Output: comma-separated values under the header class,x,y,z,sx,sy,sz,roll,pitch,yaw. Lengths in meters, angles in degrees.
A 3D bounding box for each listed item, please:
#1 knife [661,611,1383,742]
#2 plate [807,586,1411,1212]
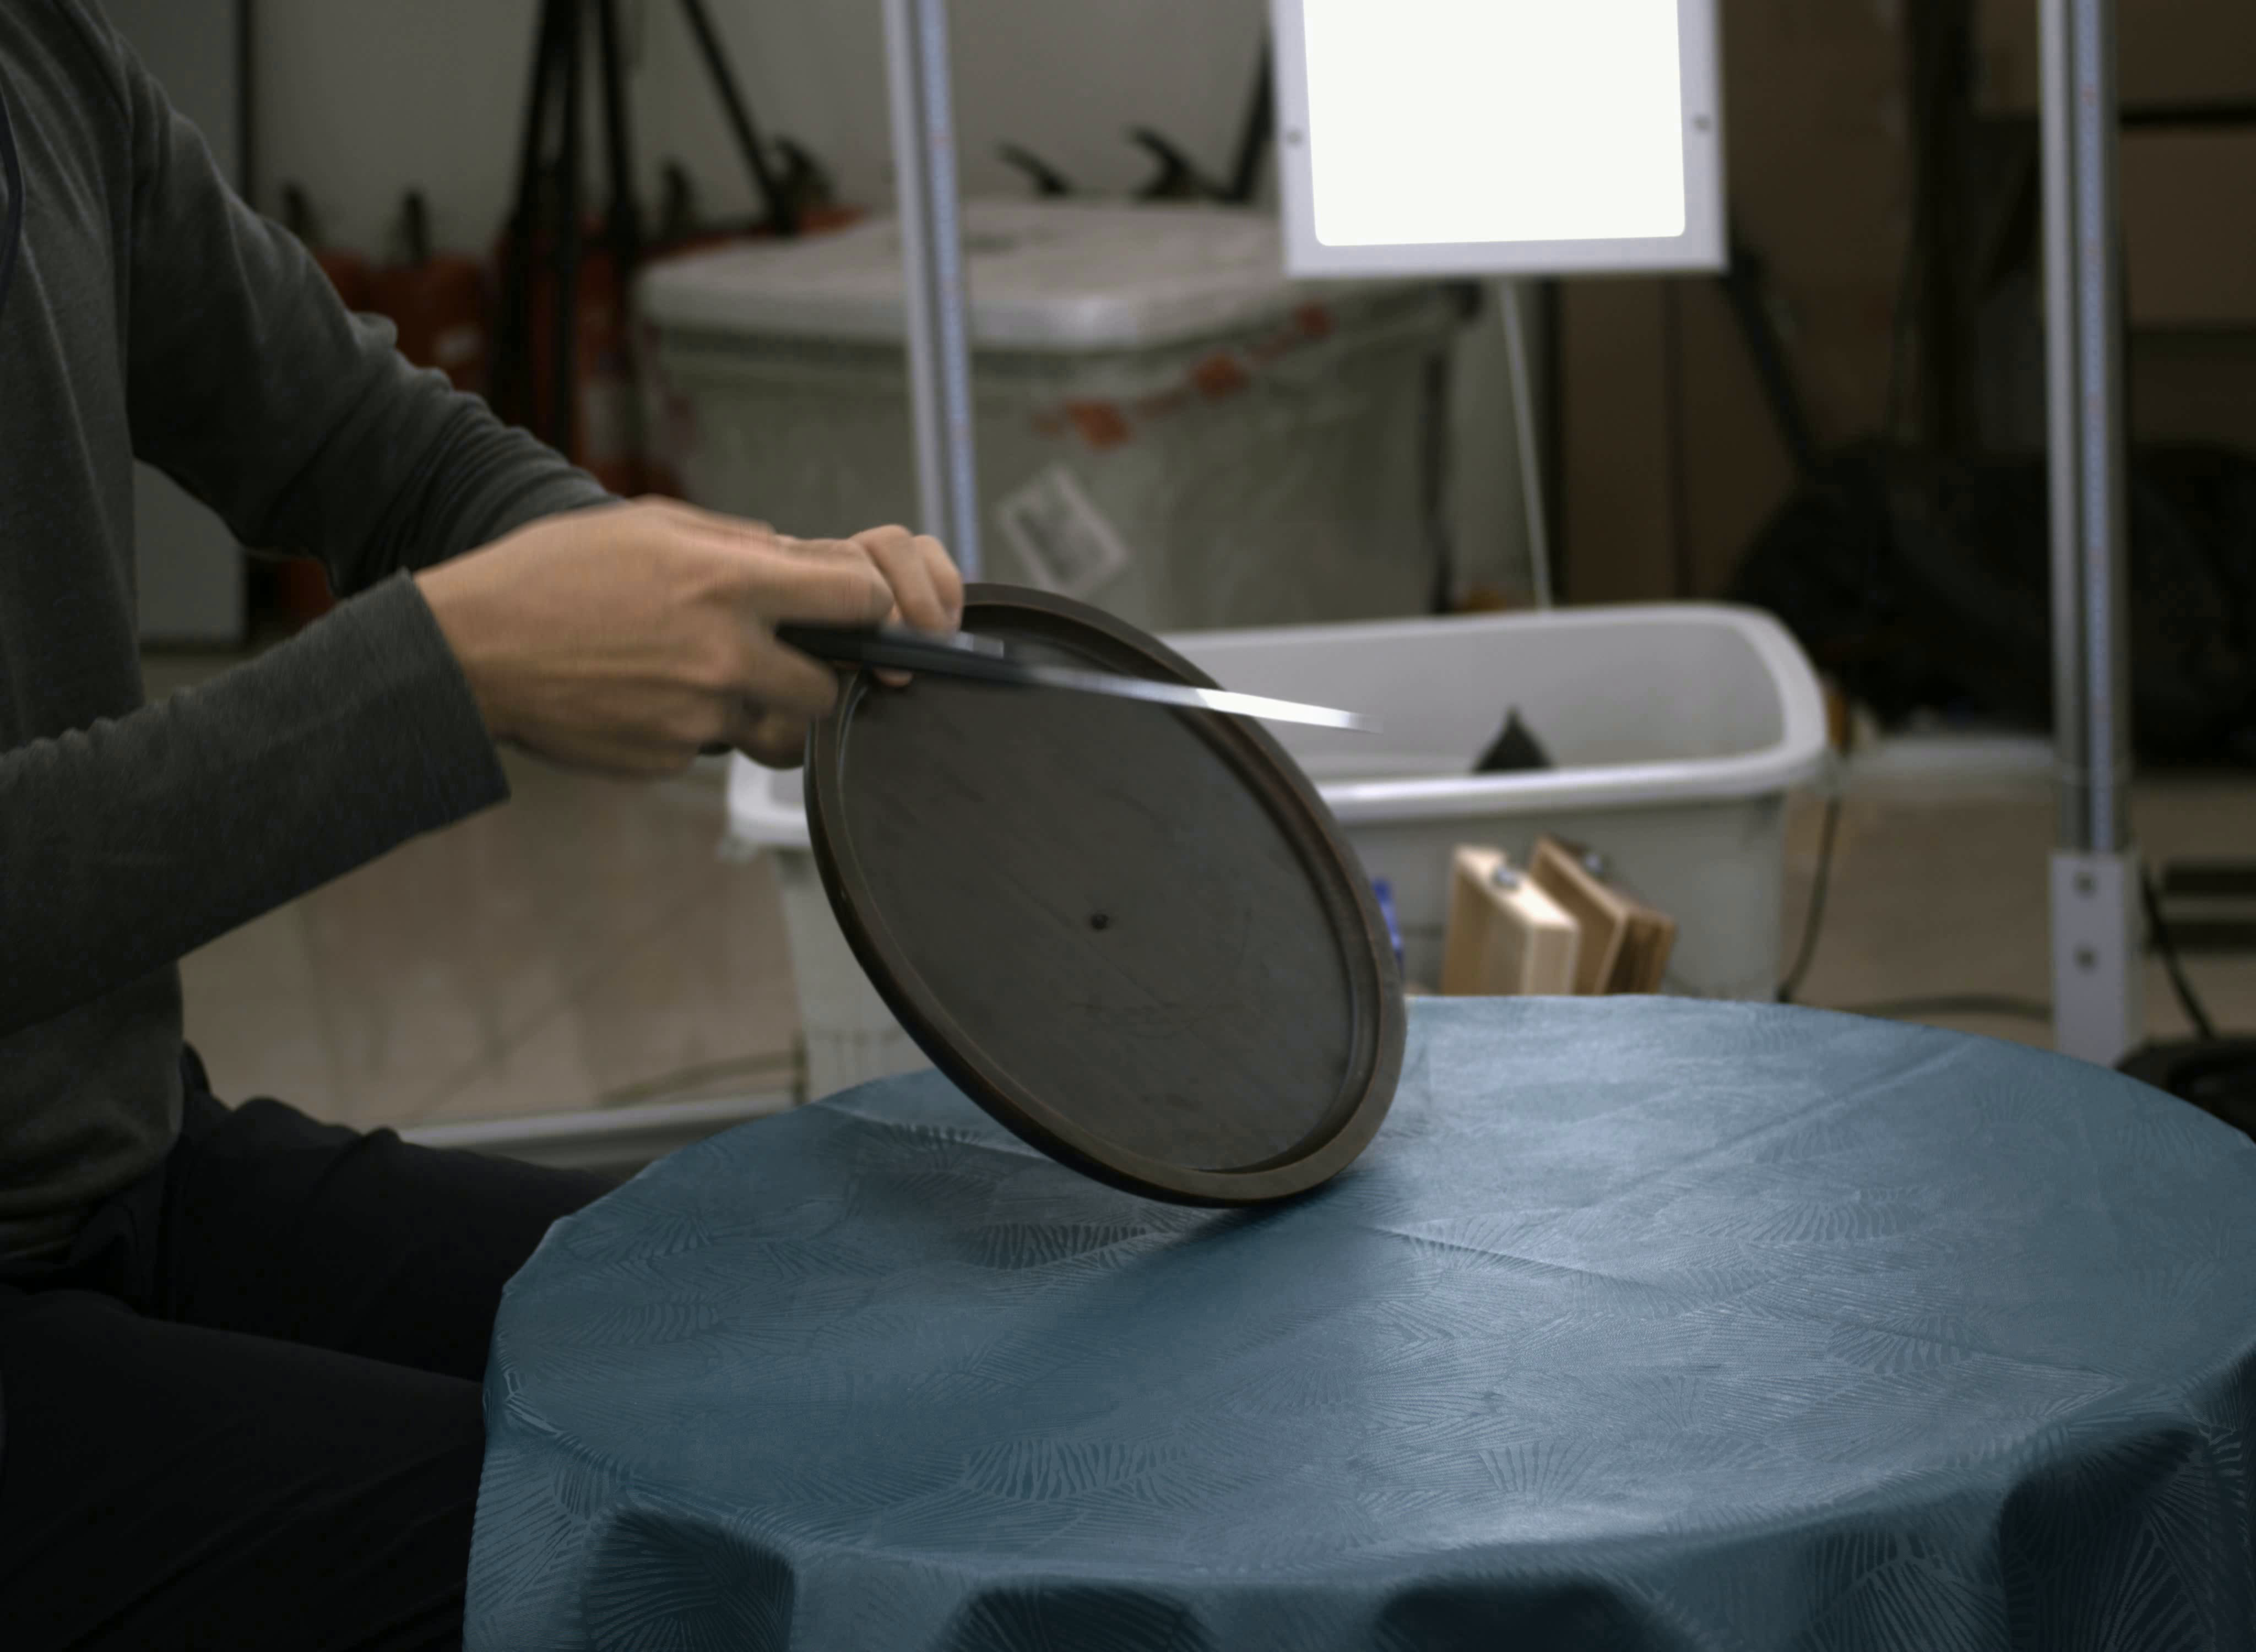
class,x,y,z,sx,sy,sz,roll,pitch,yaw
knife,-0.033,-0.045,1.779,0.237,0.016,0.024,8,13,-3
plate,-0.007,0.025,1.912,0.248,0.256,0.029,-21,-17,-50
